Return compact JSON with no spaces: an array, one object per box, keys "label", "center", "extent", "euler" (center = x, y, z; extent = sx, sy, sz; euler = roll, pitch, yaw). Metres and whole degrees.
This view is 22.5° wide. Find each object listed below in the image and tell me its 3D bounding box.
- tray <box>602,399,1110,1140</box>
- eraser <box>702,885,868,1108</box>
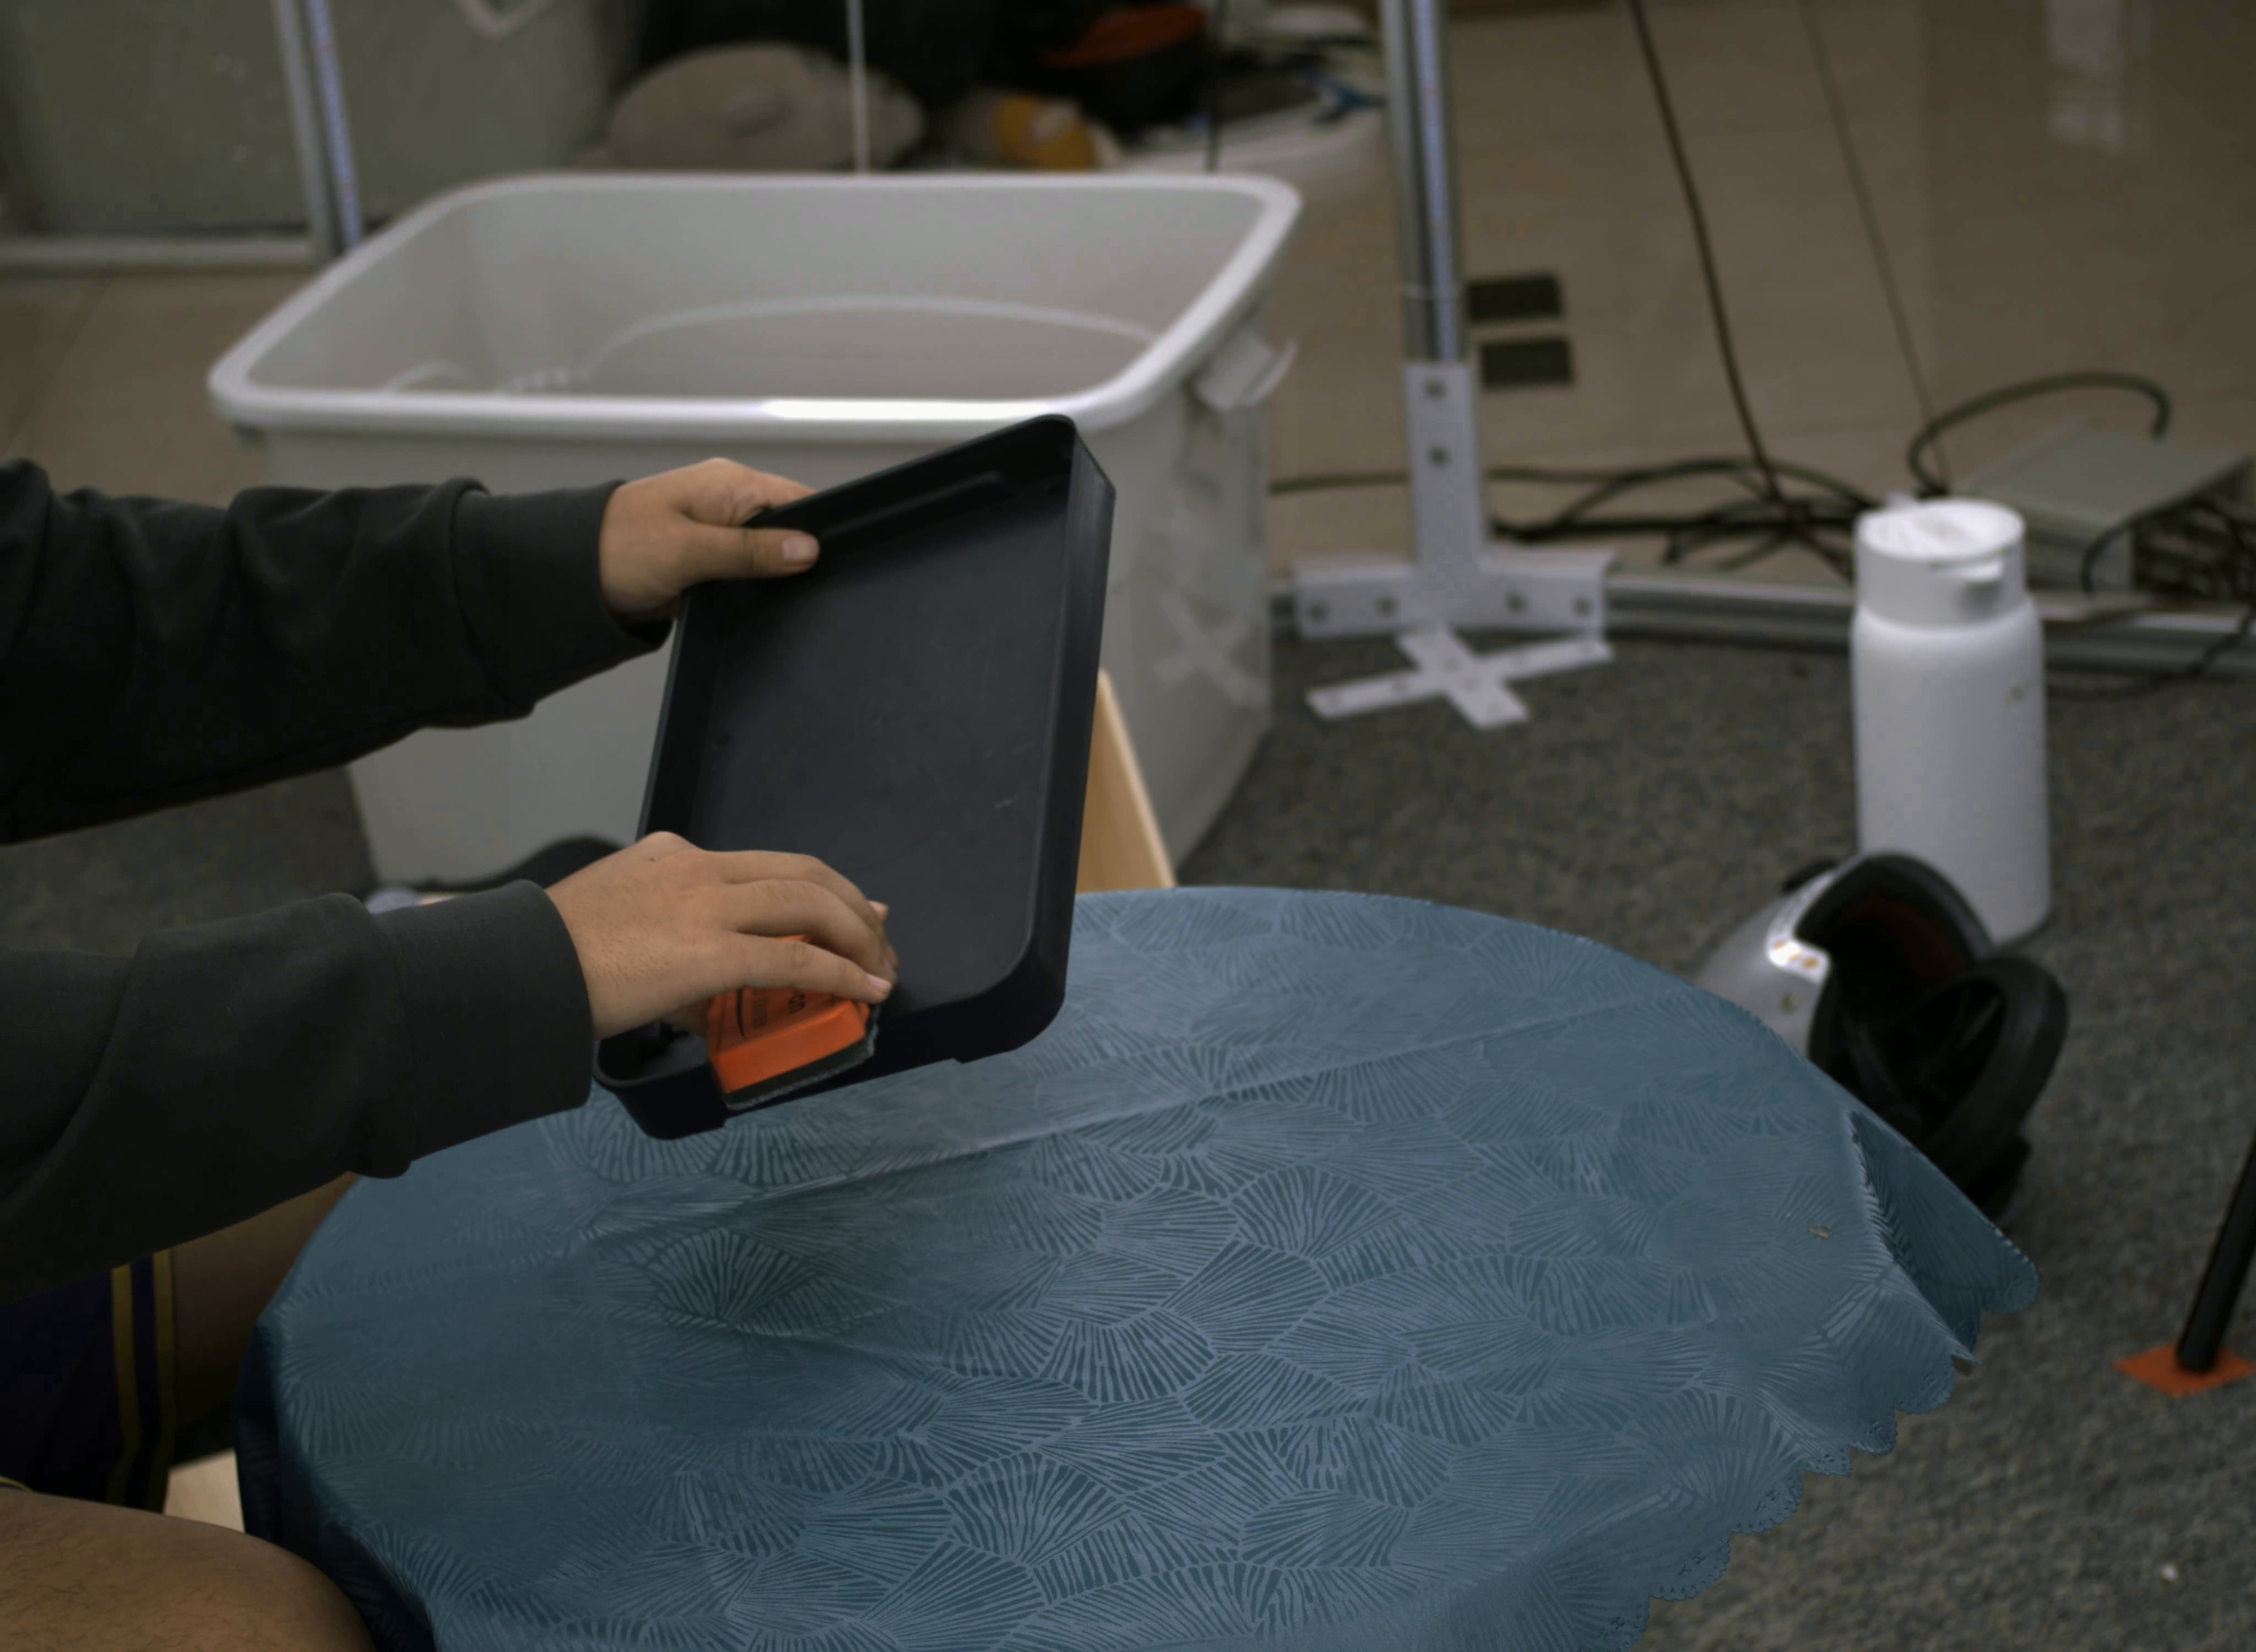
[{"label":"tray","center":[-0.100,-0.025,2.166],"extent":[0.185,0.037,0.312],"euler":[-18,42,21]},{"label":"eraser","center":[-0.124,0.061,2.047],"extent":[0.059,0.023,0.106],"euler":[-30,21,10]}]
